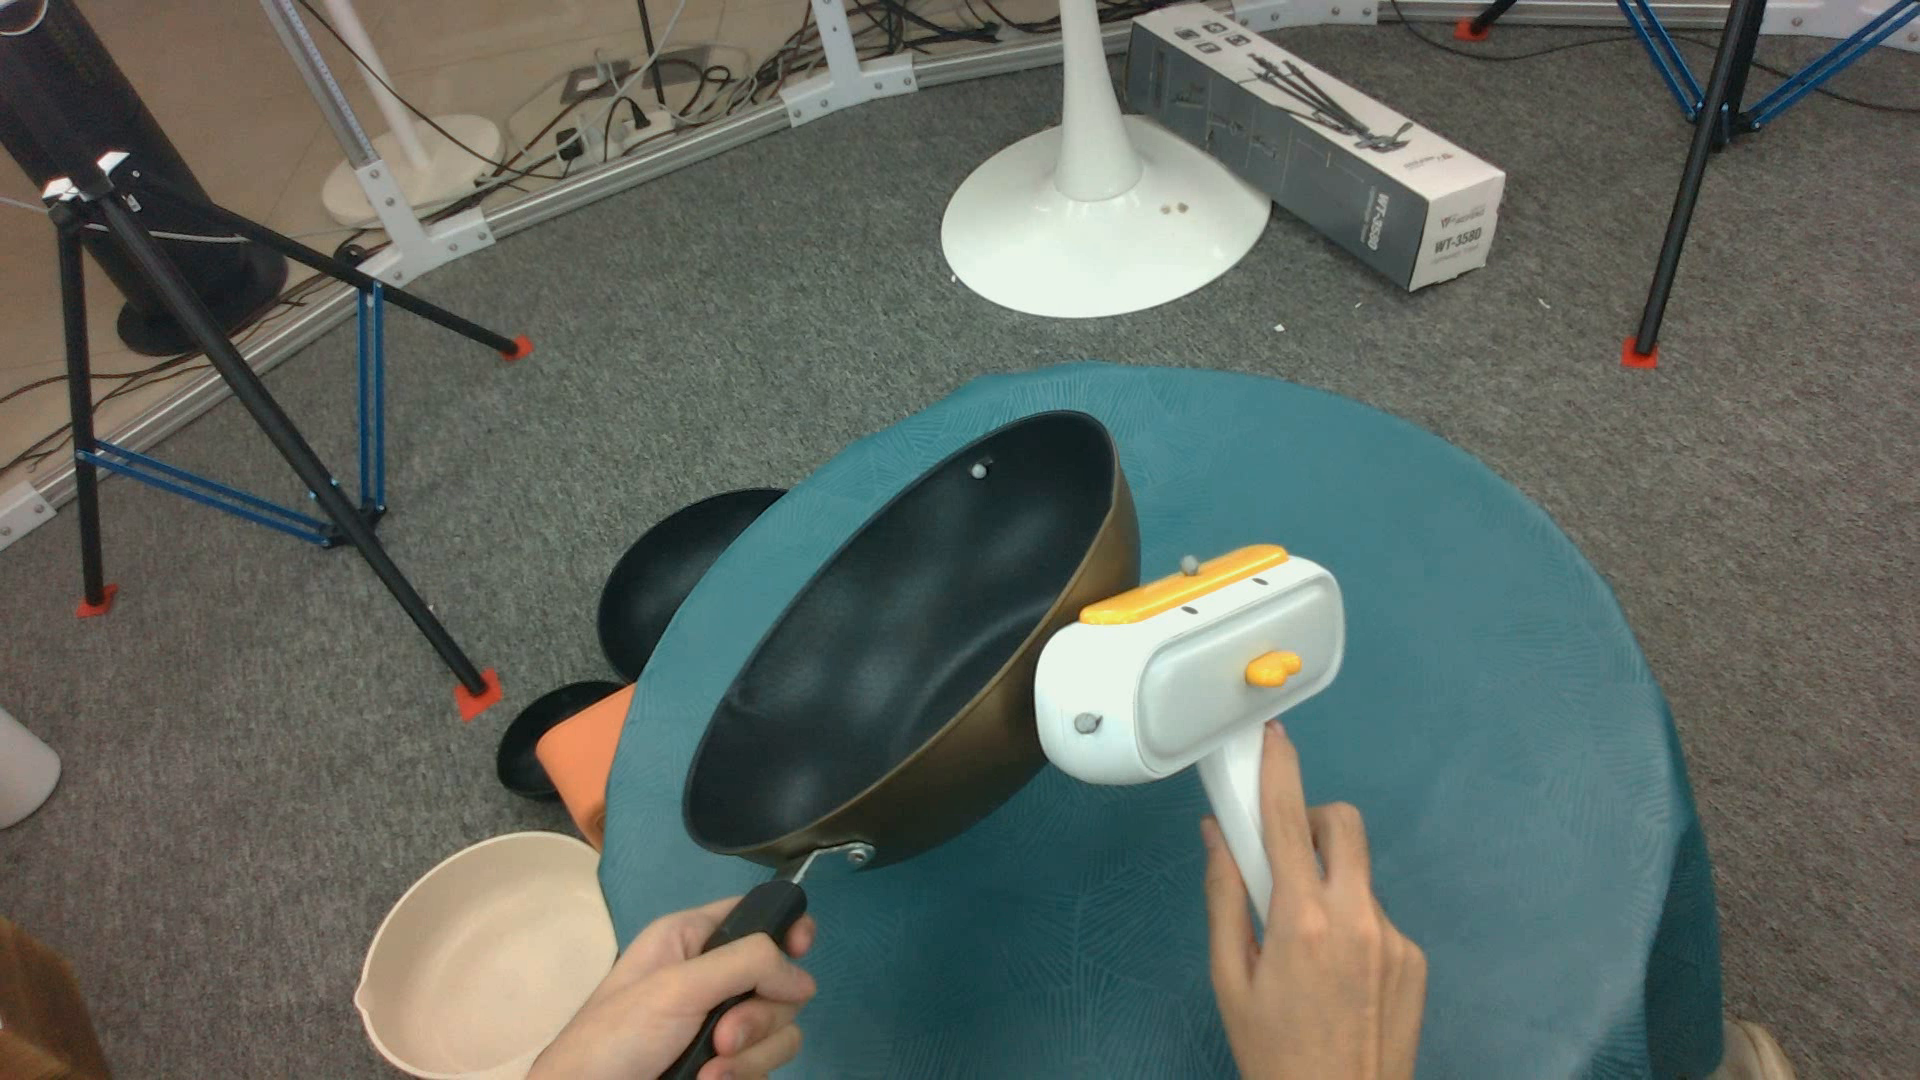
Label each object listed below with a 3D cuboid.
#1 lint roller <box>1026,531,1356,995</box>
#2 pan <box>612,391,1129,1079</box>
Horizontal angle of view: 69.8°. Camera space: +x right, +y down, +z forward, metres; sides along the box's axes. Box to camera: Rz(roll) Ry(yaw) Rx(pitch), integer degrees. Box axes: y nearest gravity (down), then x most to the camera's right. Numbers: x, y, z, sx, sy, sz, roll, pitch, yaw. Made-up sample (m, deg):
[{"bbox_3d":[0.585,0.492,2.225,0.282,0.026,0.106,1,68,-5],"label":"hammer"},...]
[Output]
[{"bbox_3d":[0.121,0.103,0.598,0.074,0.192,0.193,-10,7,40],"label":"lint roller"},{"bbox_3d":[-0.045,0.114,0.624,0.287,0.087,0.466,-25,28,38],"label":"pan"}]
